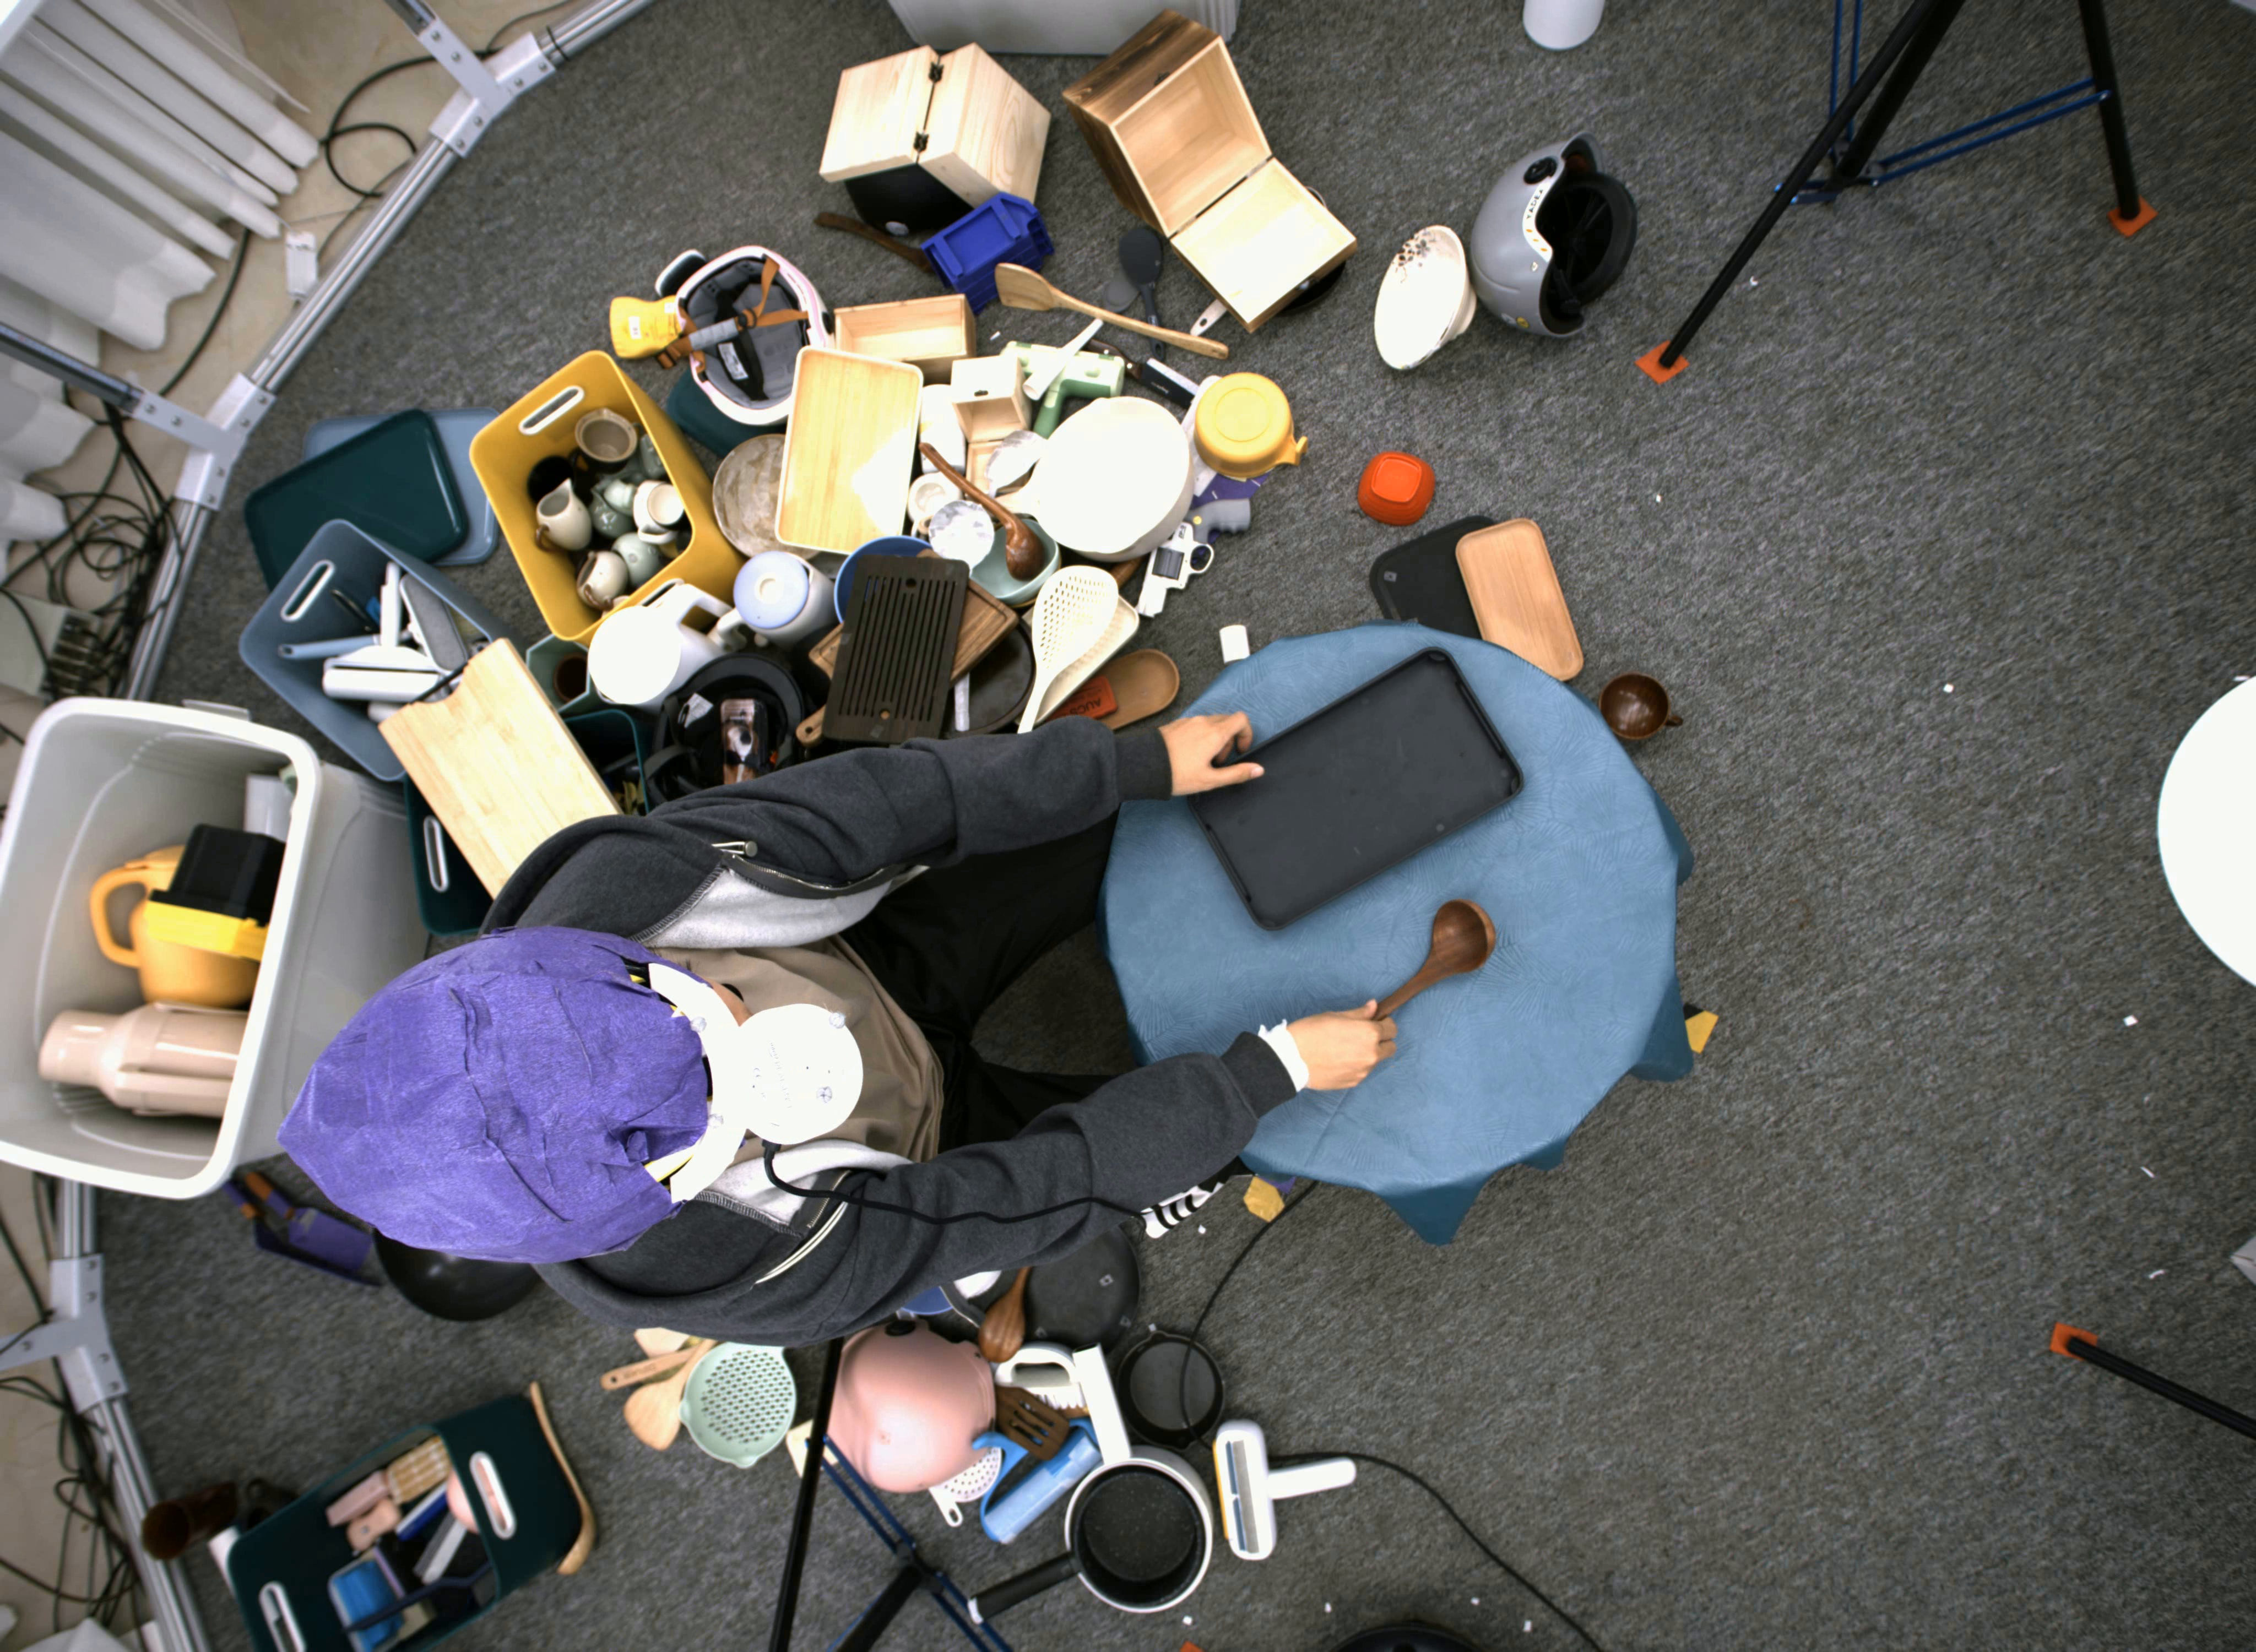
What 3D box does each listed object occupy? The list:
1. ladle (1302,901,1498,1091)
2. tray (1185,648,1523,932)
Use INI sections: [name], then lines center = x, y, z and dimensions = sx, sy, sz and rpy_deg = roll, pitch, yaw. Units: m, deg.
[ladle]
center = 0.272, 0.177, 1.421
dimensions = 0.261, 0.066, 0.075
rpy_deg = -41, 54, 6
[tray]
center = 0.235, -0.038, 1.451
dimensions = 0.319, 0.037, 0.183
rpy_deg = -30, 82, 6
